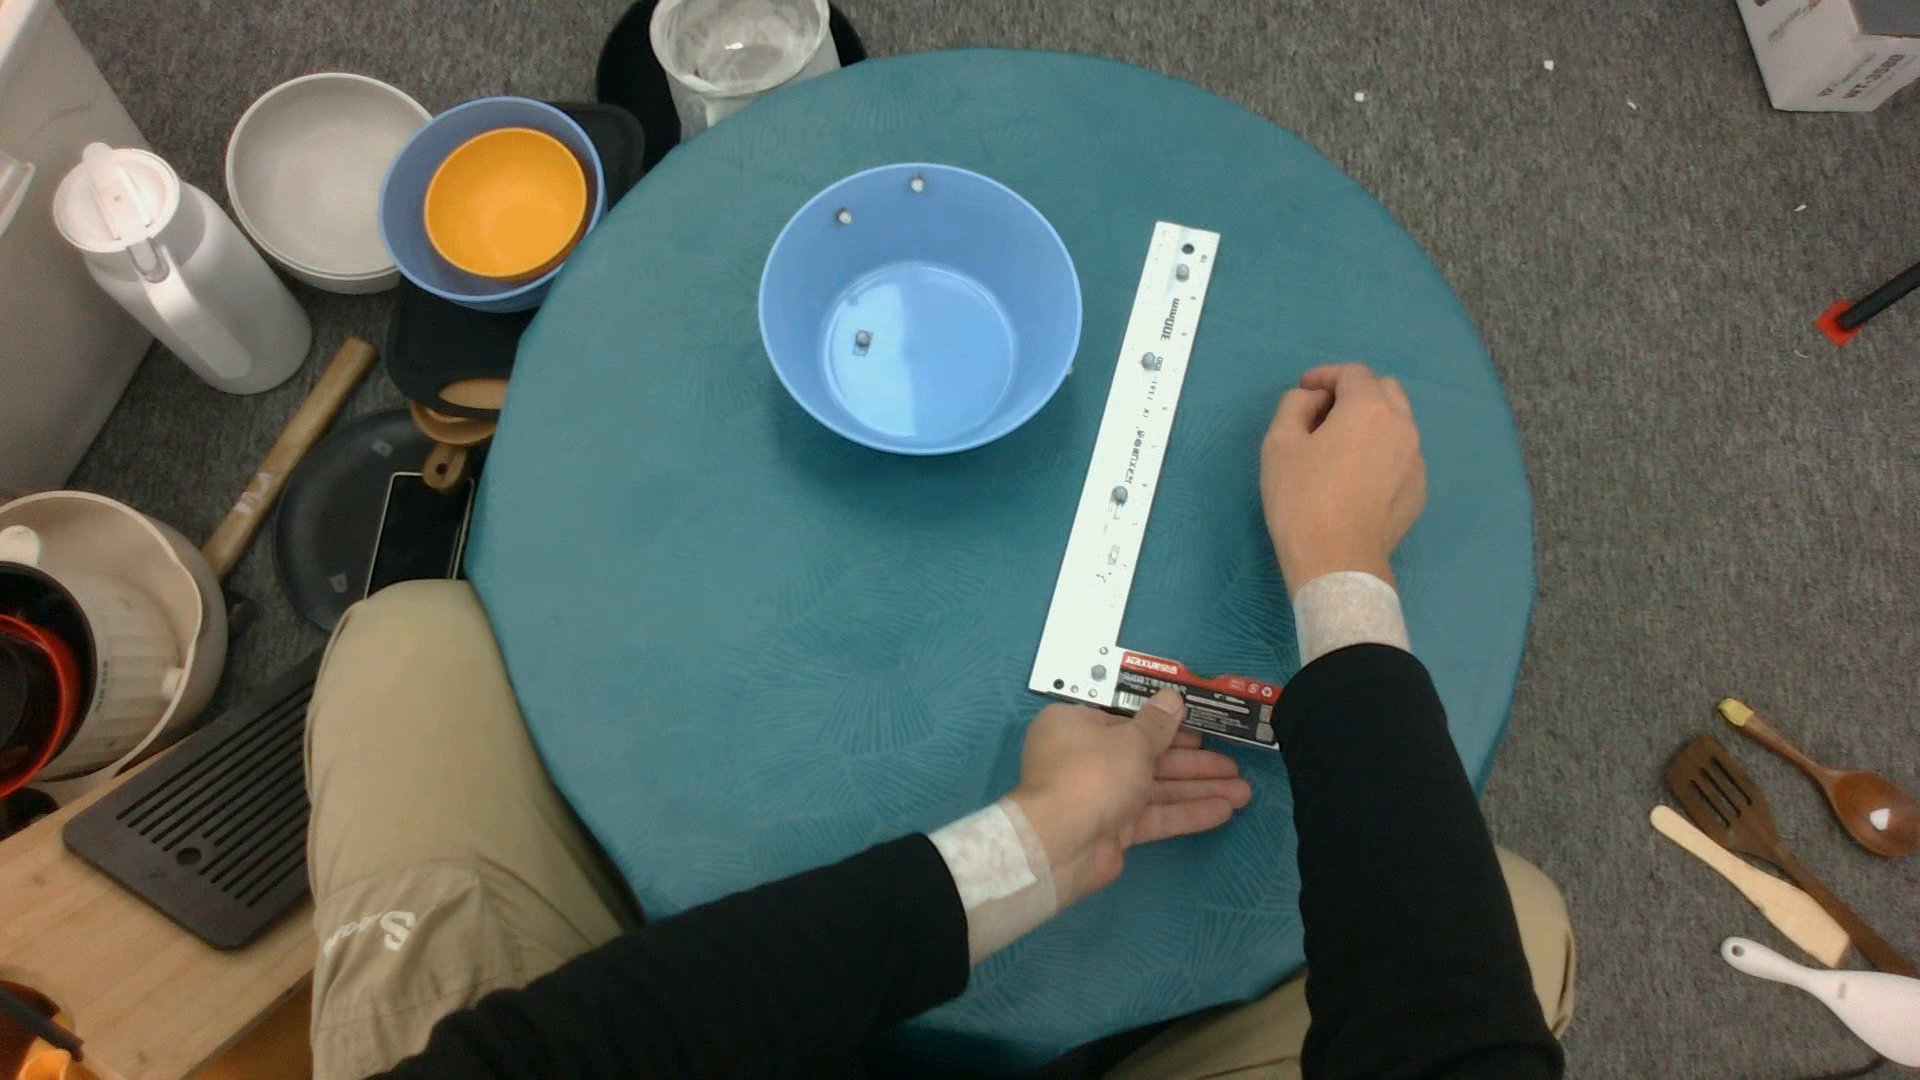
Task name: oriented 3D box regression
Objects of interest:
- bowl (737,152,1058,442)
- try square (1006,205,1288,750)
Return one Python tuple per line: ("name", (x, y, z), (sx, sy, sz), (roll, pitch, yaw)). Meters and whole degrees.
("bowl", (-0.036, -0.125, 0.776), (0.176, 0.070, 0.176), (2, 72, -5))
("try square", (0.137, -0.047, 0.796), (0.152, 0.016, 0.314), (15, 70, 3))
